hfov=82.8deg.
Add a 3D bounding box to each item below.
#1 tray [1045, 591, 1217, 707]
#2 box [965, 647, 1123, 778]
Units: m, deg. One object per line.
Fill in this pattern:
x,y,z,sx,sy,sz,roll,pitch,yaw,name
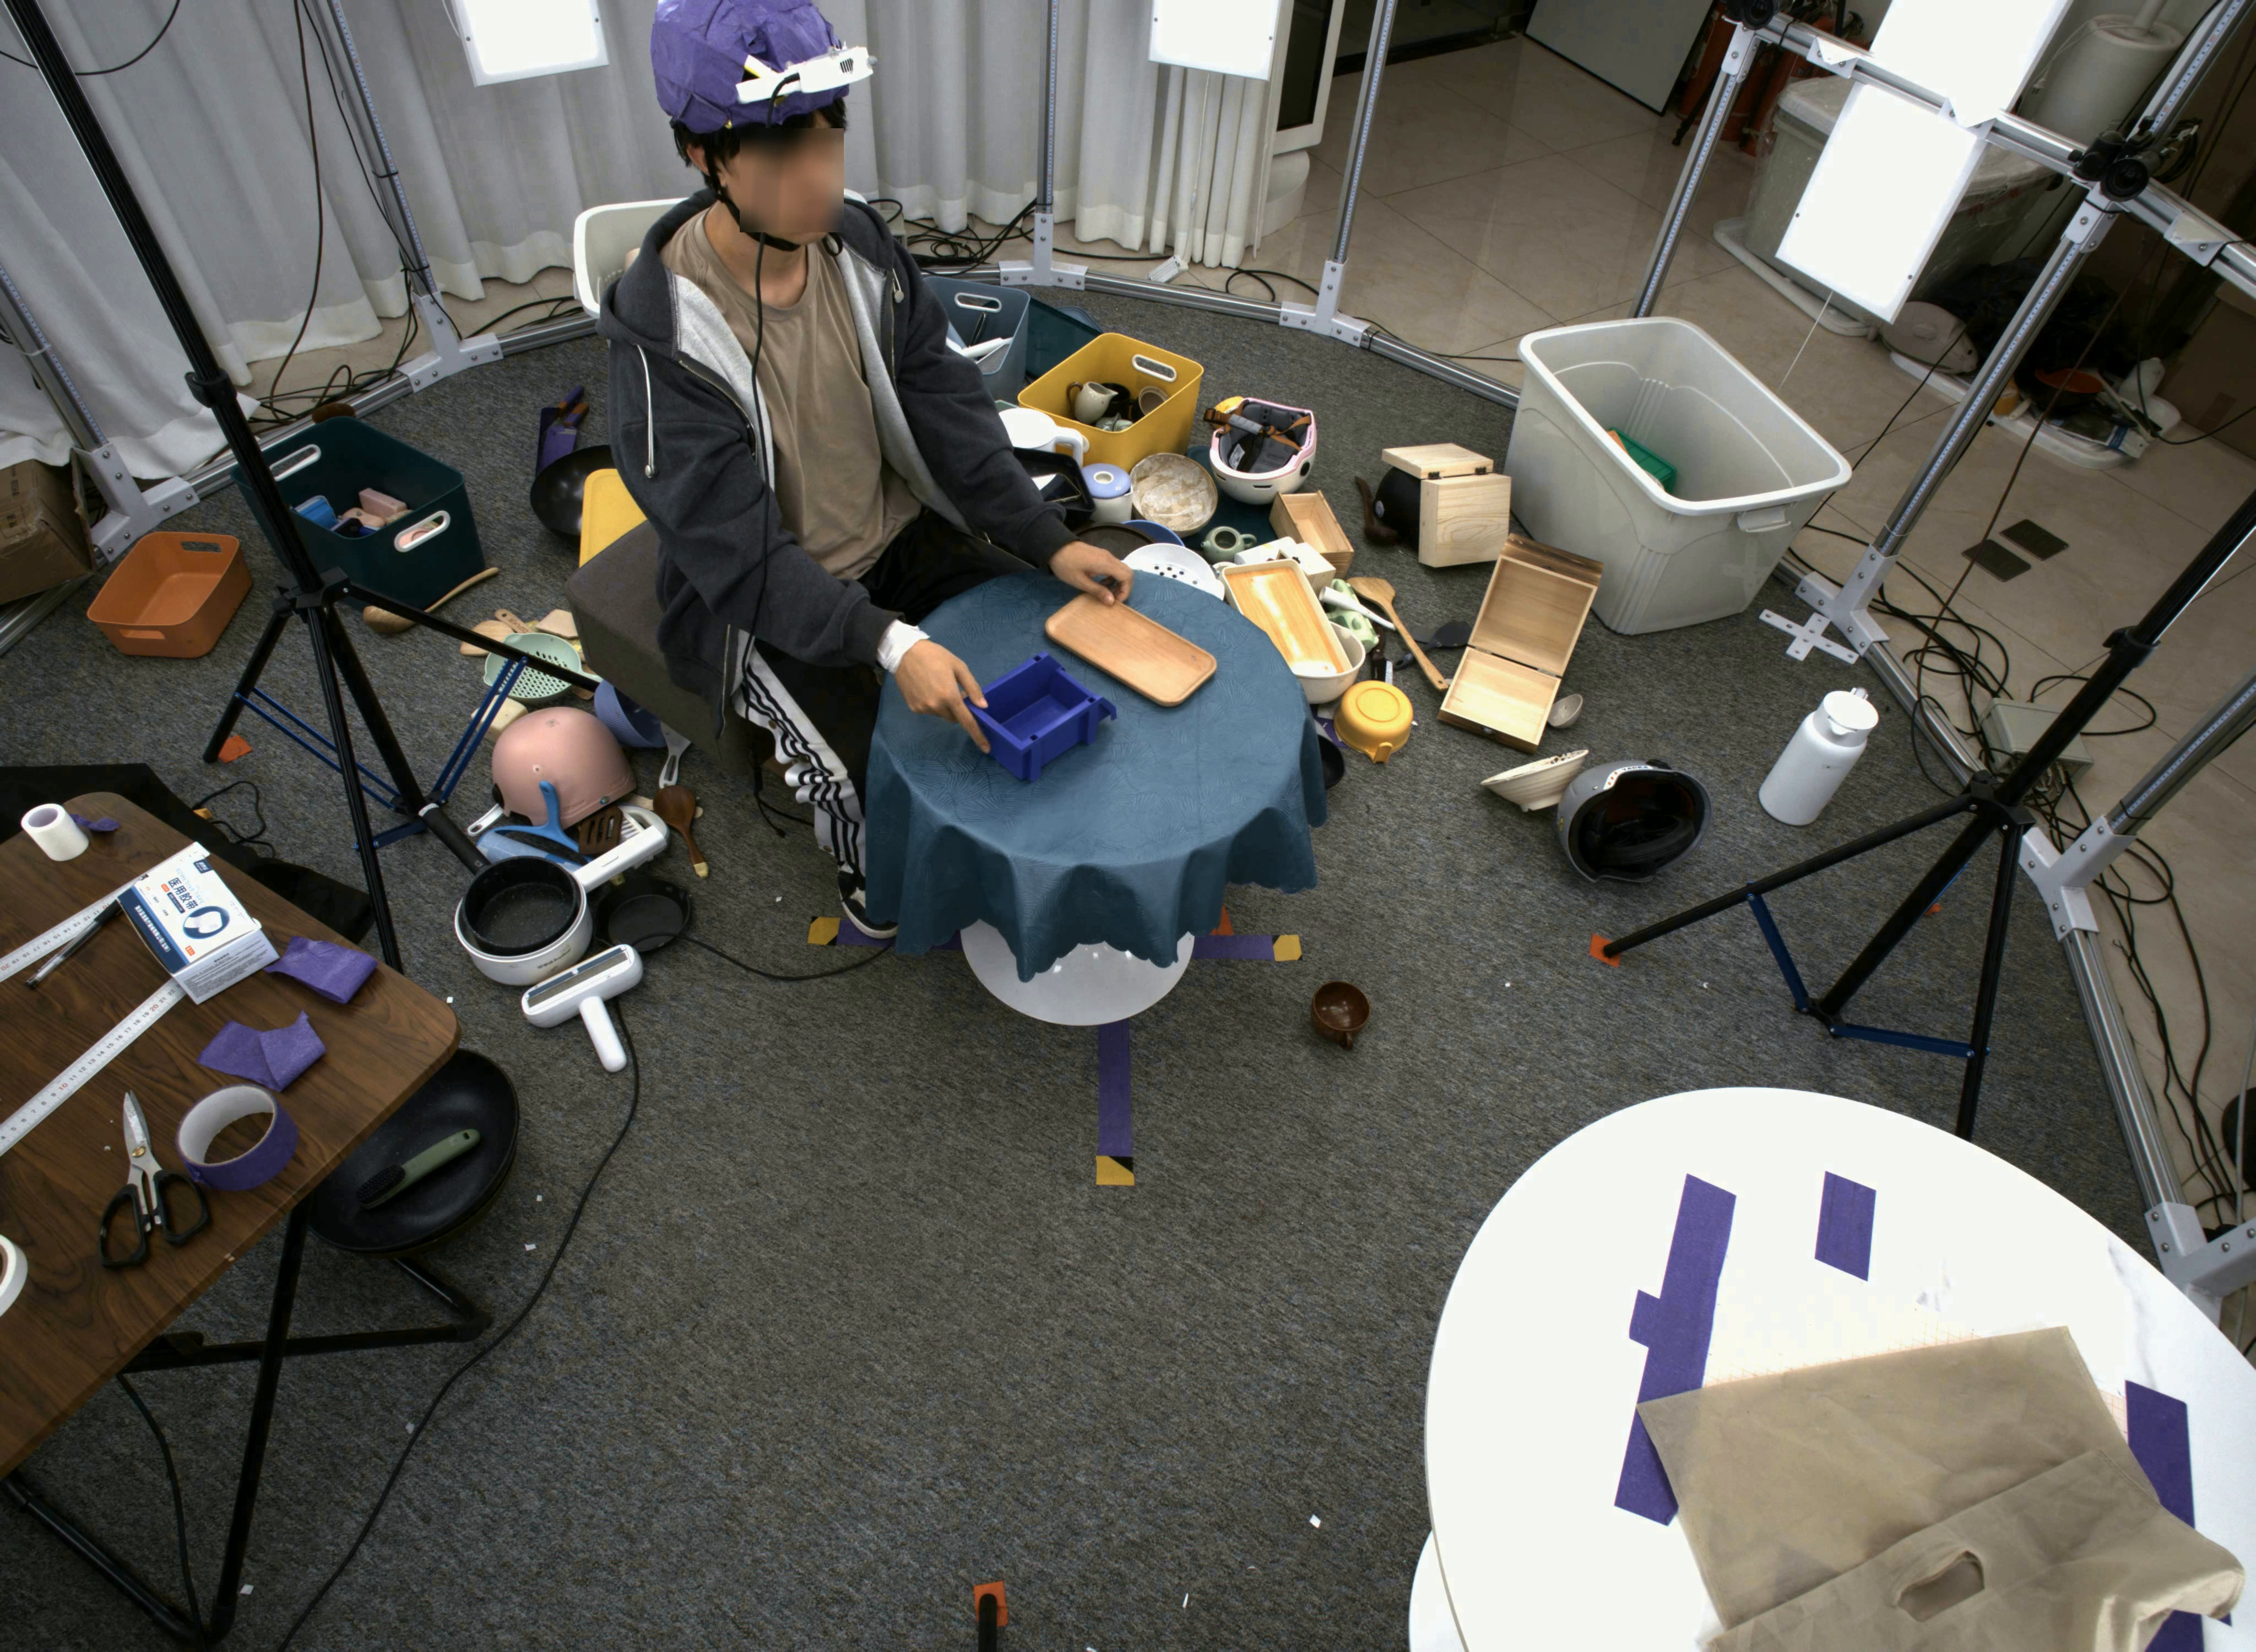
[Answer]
0.003,-0.262,1.882,0.254,0.022,0.132,33,52,23,tray
-0.113,-0.159,1.744,0.181,0.080,0.126,-35,59,-25,box
